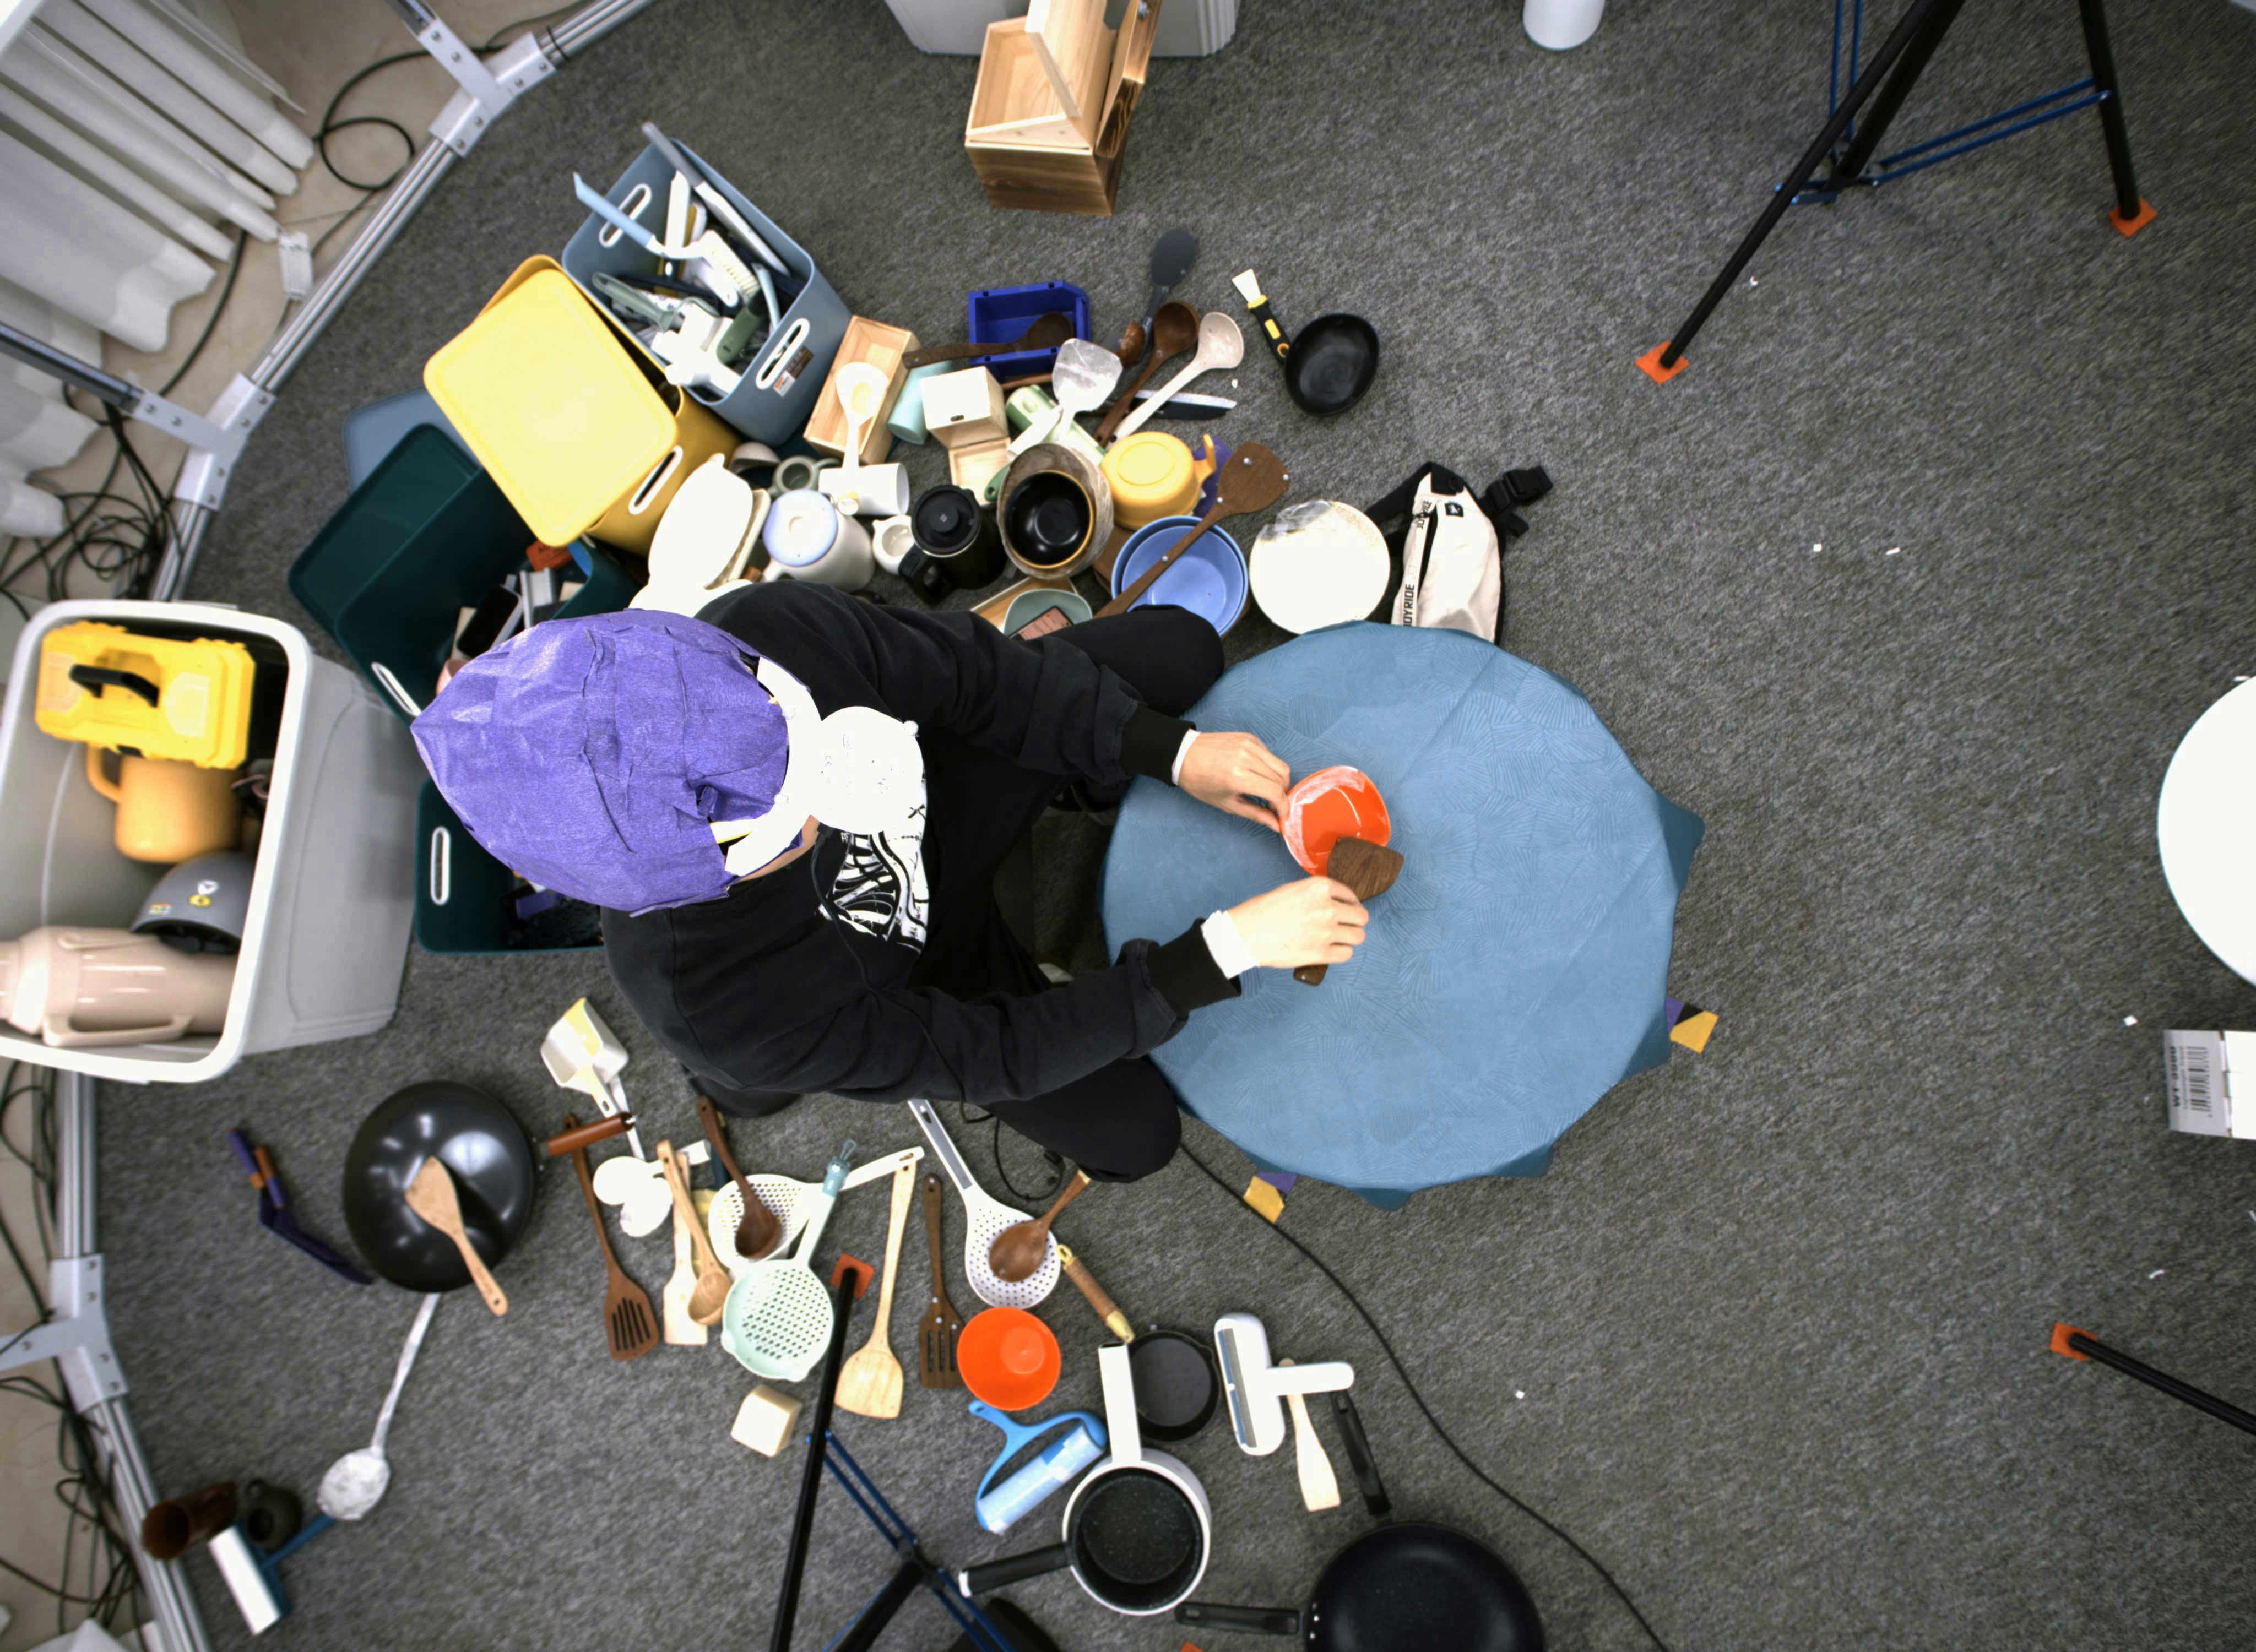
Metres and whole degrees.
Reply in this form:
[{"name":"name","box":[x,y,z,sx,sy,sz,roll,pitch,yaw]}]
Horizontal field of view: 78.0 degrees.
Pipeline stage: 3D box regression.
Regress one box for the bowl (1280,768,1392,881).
[{"name":"bowl","box":[0.213,-0.003,1.446,0.119,0.051,0.119,0,96,-4]}]

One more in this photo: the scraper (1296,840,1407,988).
[{"name":"scraper","box":[0.210,0.085,1.352,0.076,0.011,0.206,20,45,17]}]
